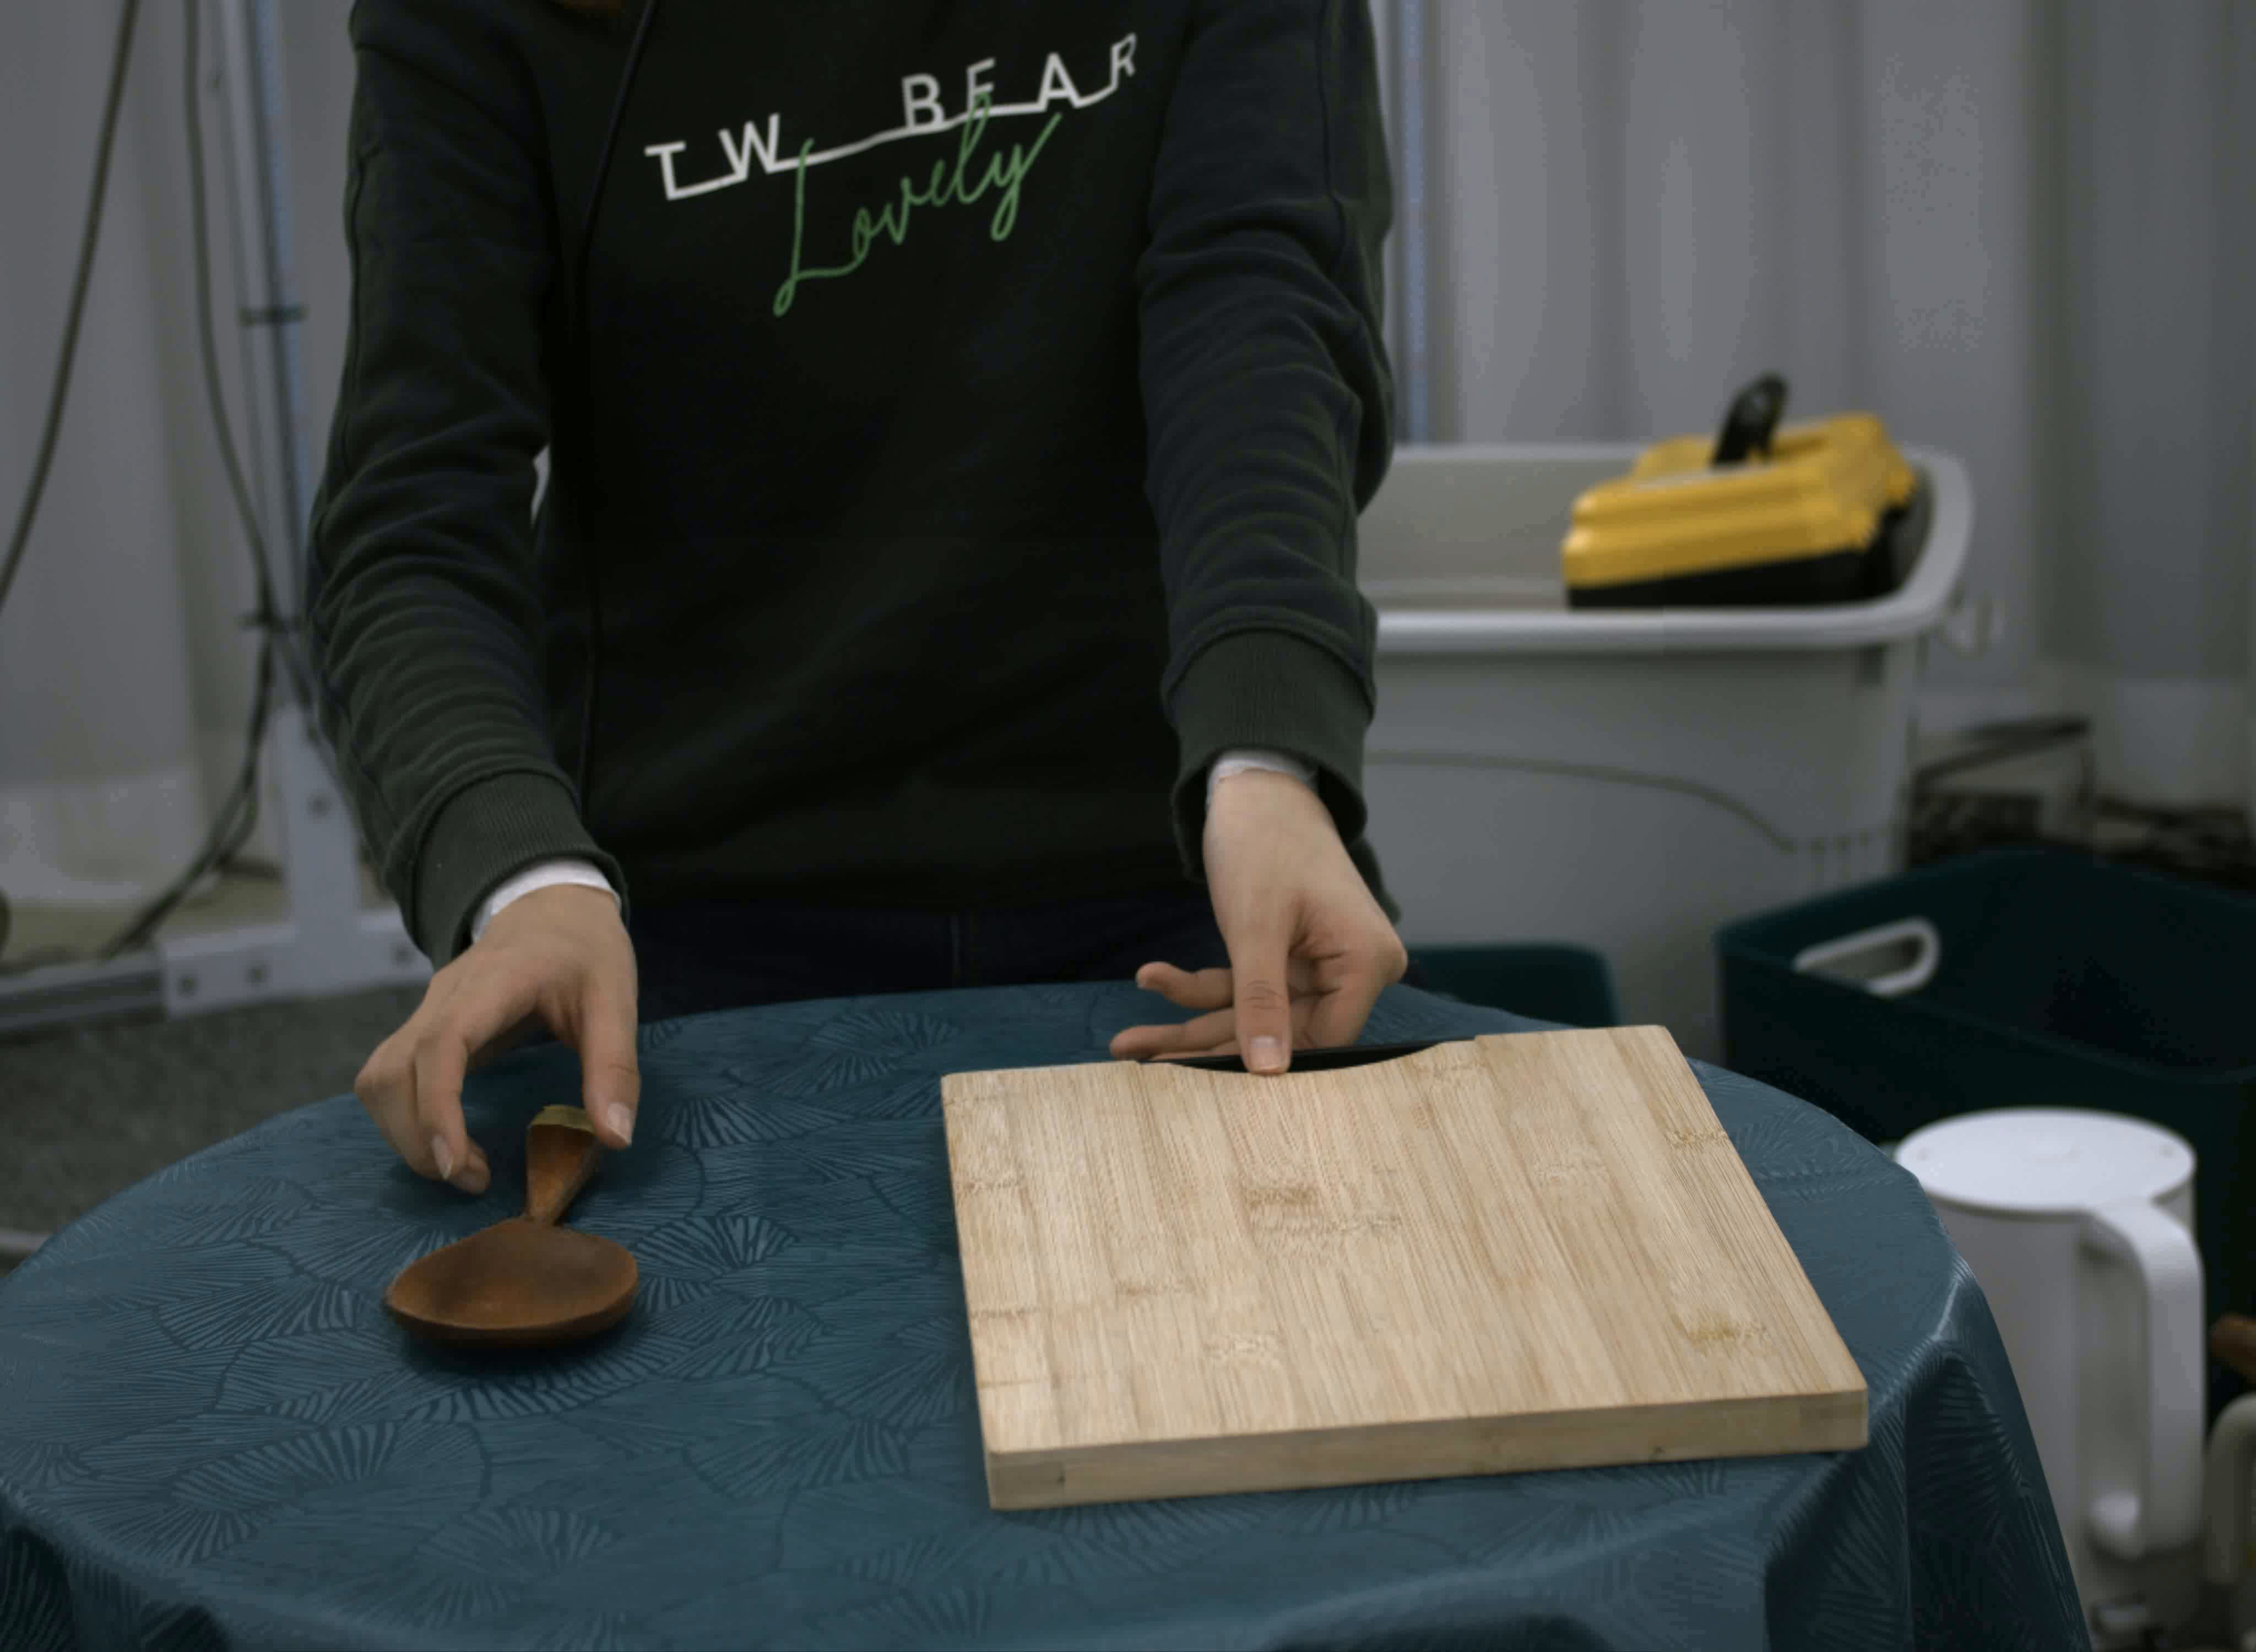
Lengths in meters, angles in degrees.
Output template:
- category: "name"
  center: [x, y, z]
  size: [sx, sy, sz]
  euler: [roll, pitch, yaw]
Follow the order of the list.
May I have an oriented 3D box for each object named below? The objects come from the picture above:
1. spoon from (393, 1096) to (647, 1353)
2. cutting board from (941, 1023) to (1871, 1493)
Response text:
- category: "spoon"
  center: [-0.180, 0.124, 1.681]
  size: [0.075, 0.017, 0.217]
  euler: [-4, 15, 1]
- category: "cutting board"
  center: [0.070, 0.124, 1.636]
  size: [0.250, 0.023, 0.351]
  euler: [-3, 15, -4]
